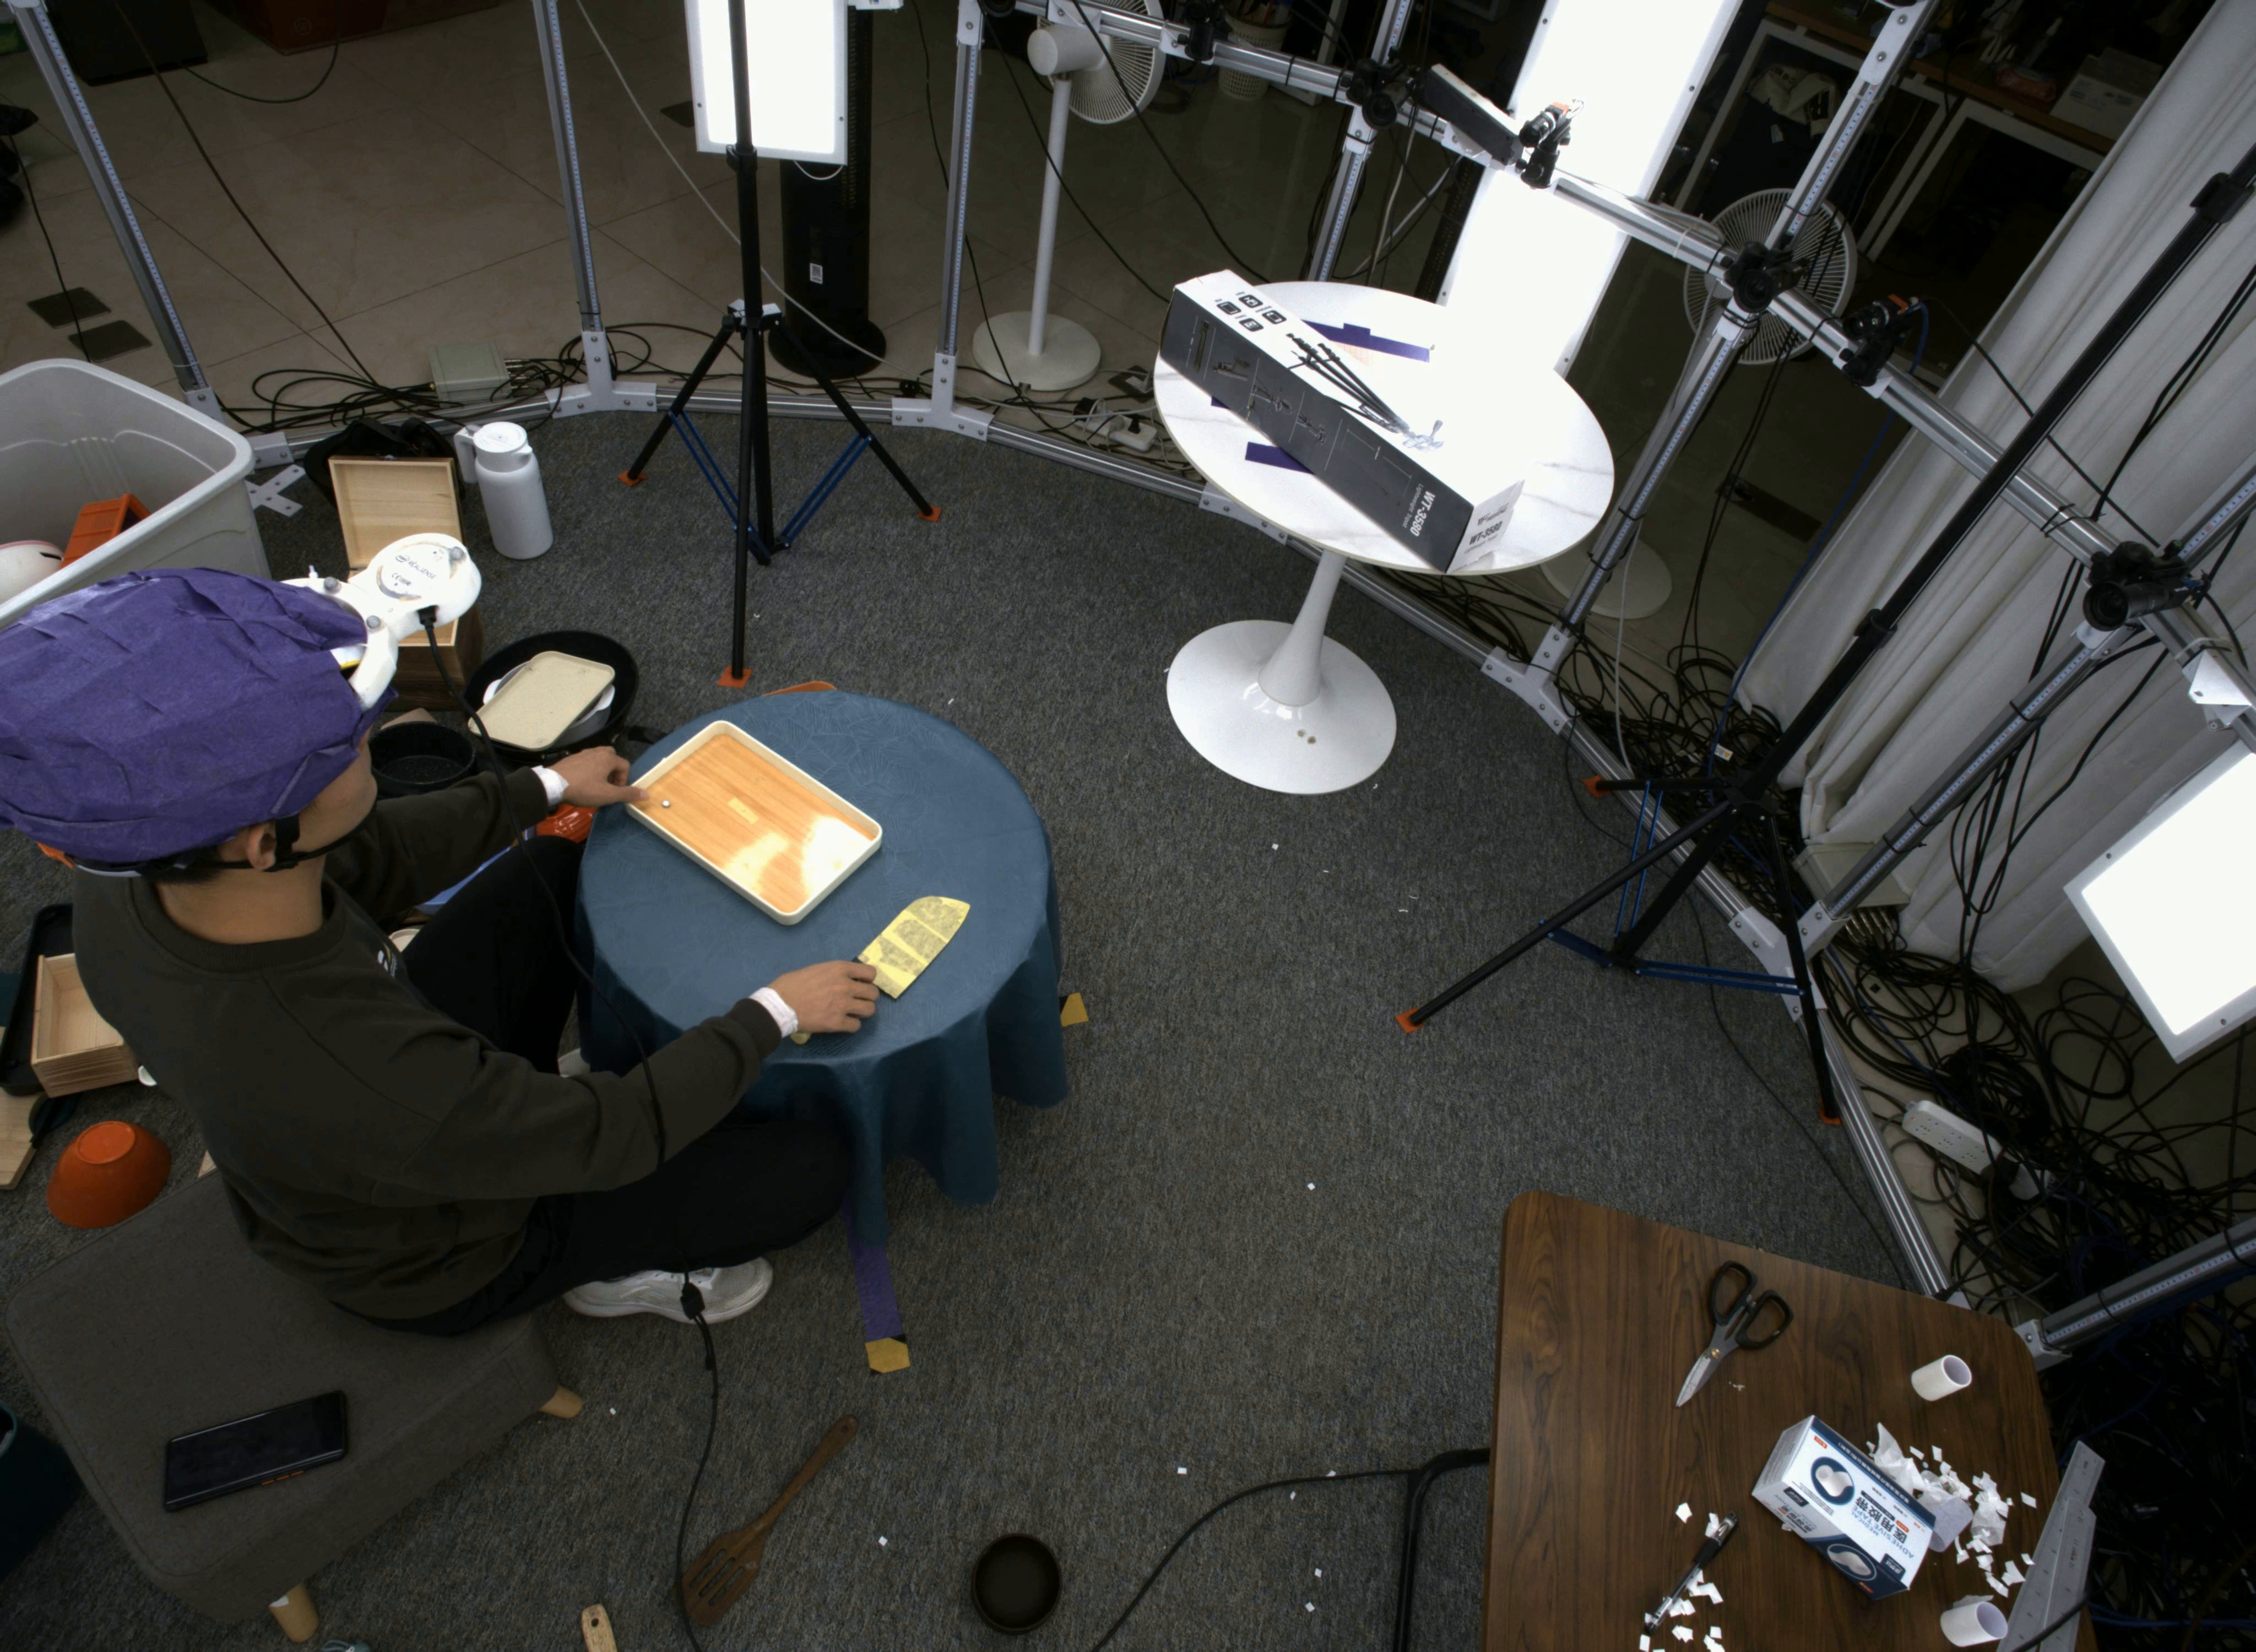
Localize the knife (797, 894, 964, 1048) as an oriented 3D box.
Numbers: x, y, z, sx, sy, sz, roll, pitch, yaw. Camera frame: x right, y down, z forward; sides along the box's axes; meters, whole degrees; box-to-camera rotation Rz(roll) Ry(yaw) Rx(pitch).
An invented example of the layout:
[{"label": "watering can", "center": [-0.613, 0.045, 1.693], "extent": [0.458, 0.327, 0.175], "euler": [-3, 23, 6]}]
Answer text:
[{"label": "knife", "center": [-0.303, 0.176, 1.626], "extent": [0.080, 0.028, 0.289], "euler": [36, 53, 11]}]

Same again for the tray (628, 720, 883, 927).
[{"label": "tray", "center": [-0.493, -0.009, 1.707], "extent": [0.295, 0.028, 0.191], "euler": [33, 54, 11]}]
